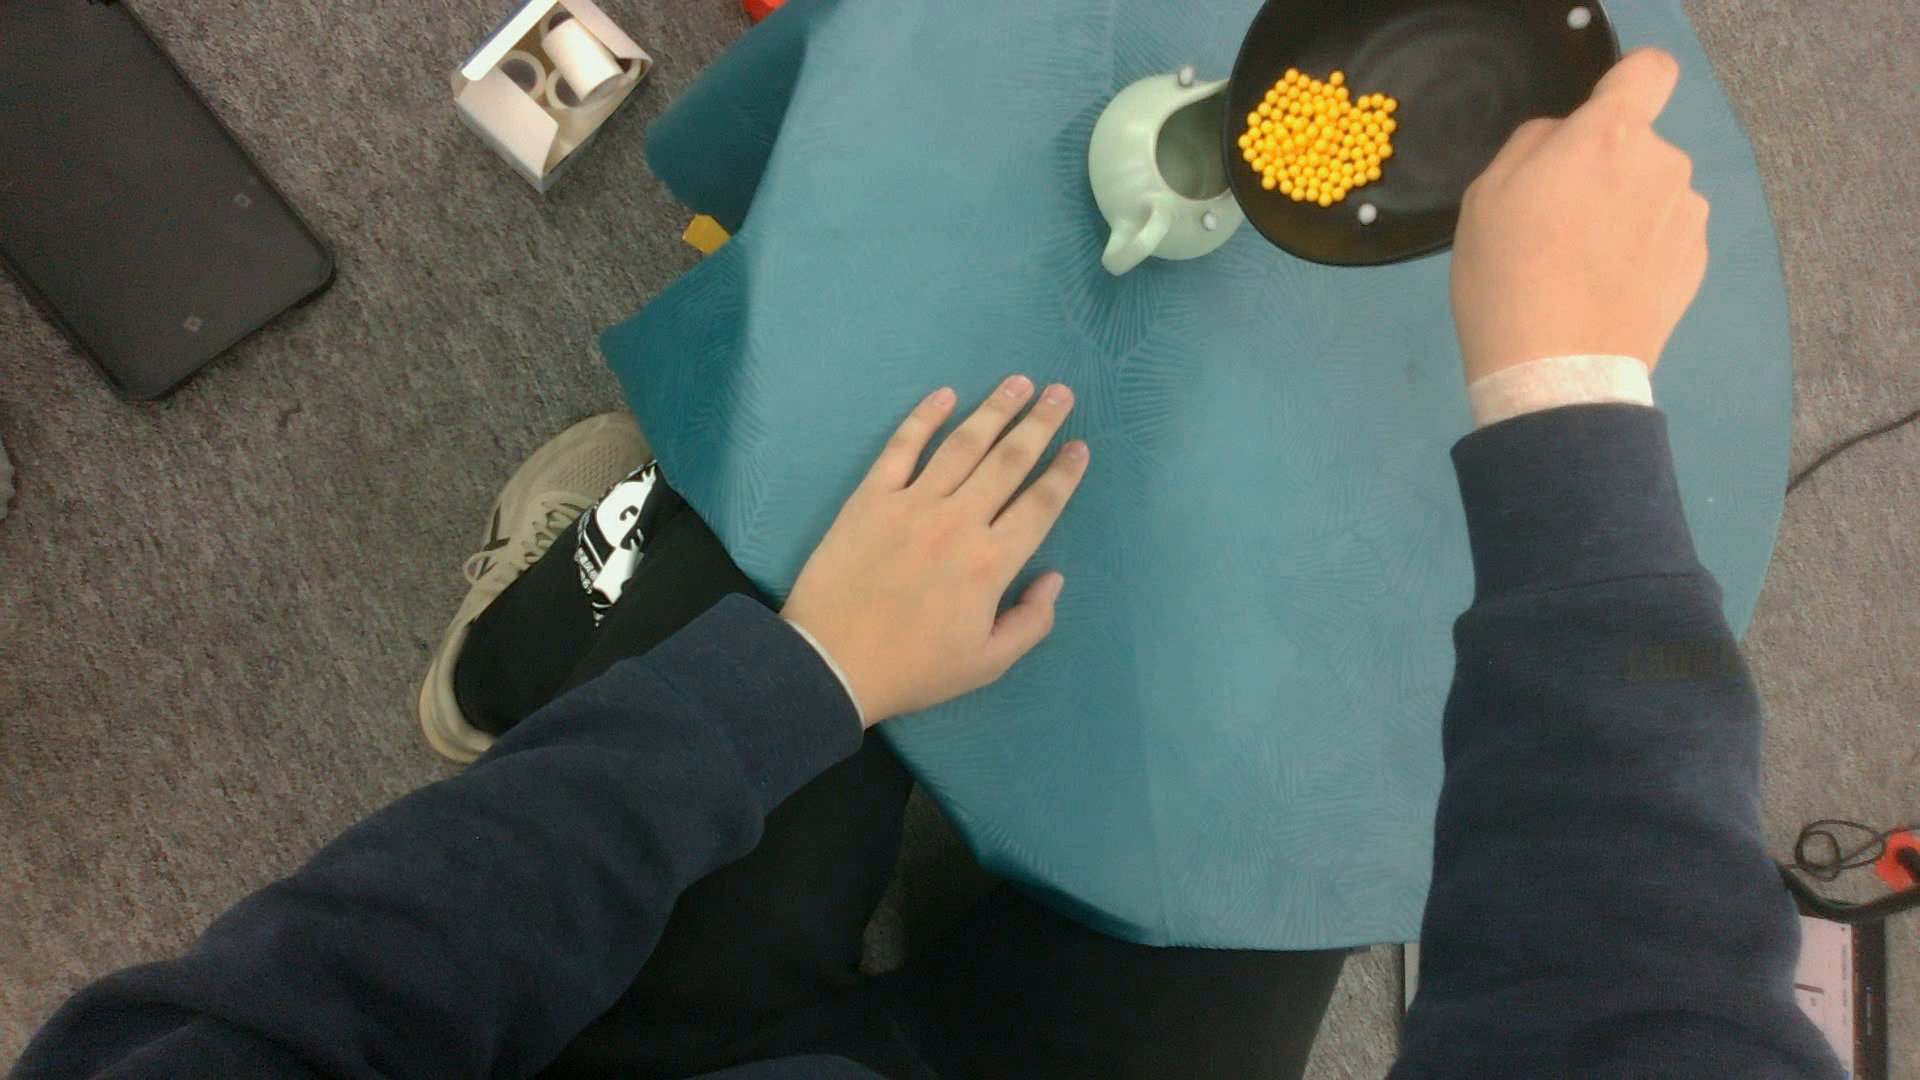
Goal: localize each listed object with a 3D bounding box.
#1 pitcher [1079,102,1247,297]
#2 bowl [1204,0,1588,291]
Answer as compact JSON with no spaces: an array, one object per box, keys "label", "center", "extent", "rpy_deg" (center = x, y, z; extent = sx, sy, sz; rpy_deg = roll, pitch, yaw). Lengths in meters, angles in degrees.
[{"label":"pitcher","center":[0.096,-0.162,0.666],"extent":[0.086,0.060,0.108],"rpy_deg":[34,82,-13]},{"label":"bowl","center":[0.189,-0.175,0.592],"extent":[0.067,0.170,0.137],"rpy_deg":[-4,96,-44]}]
